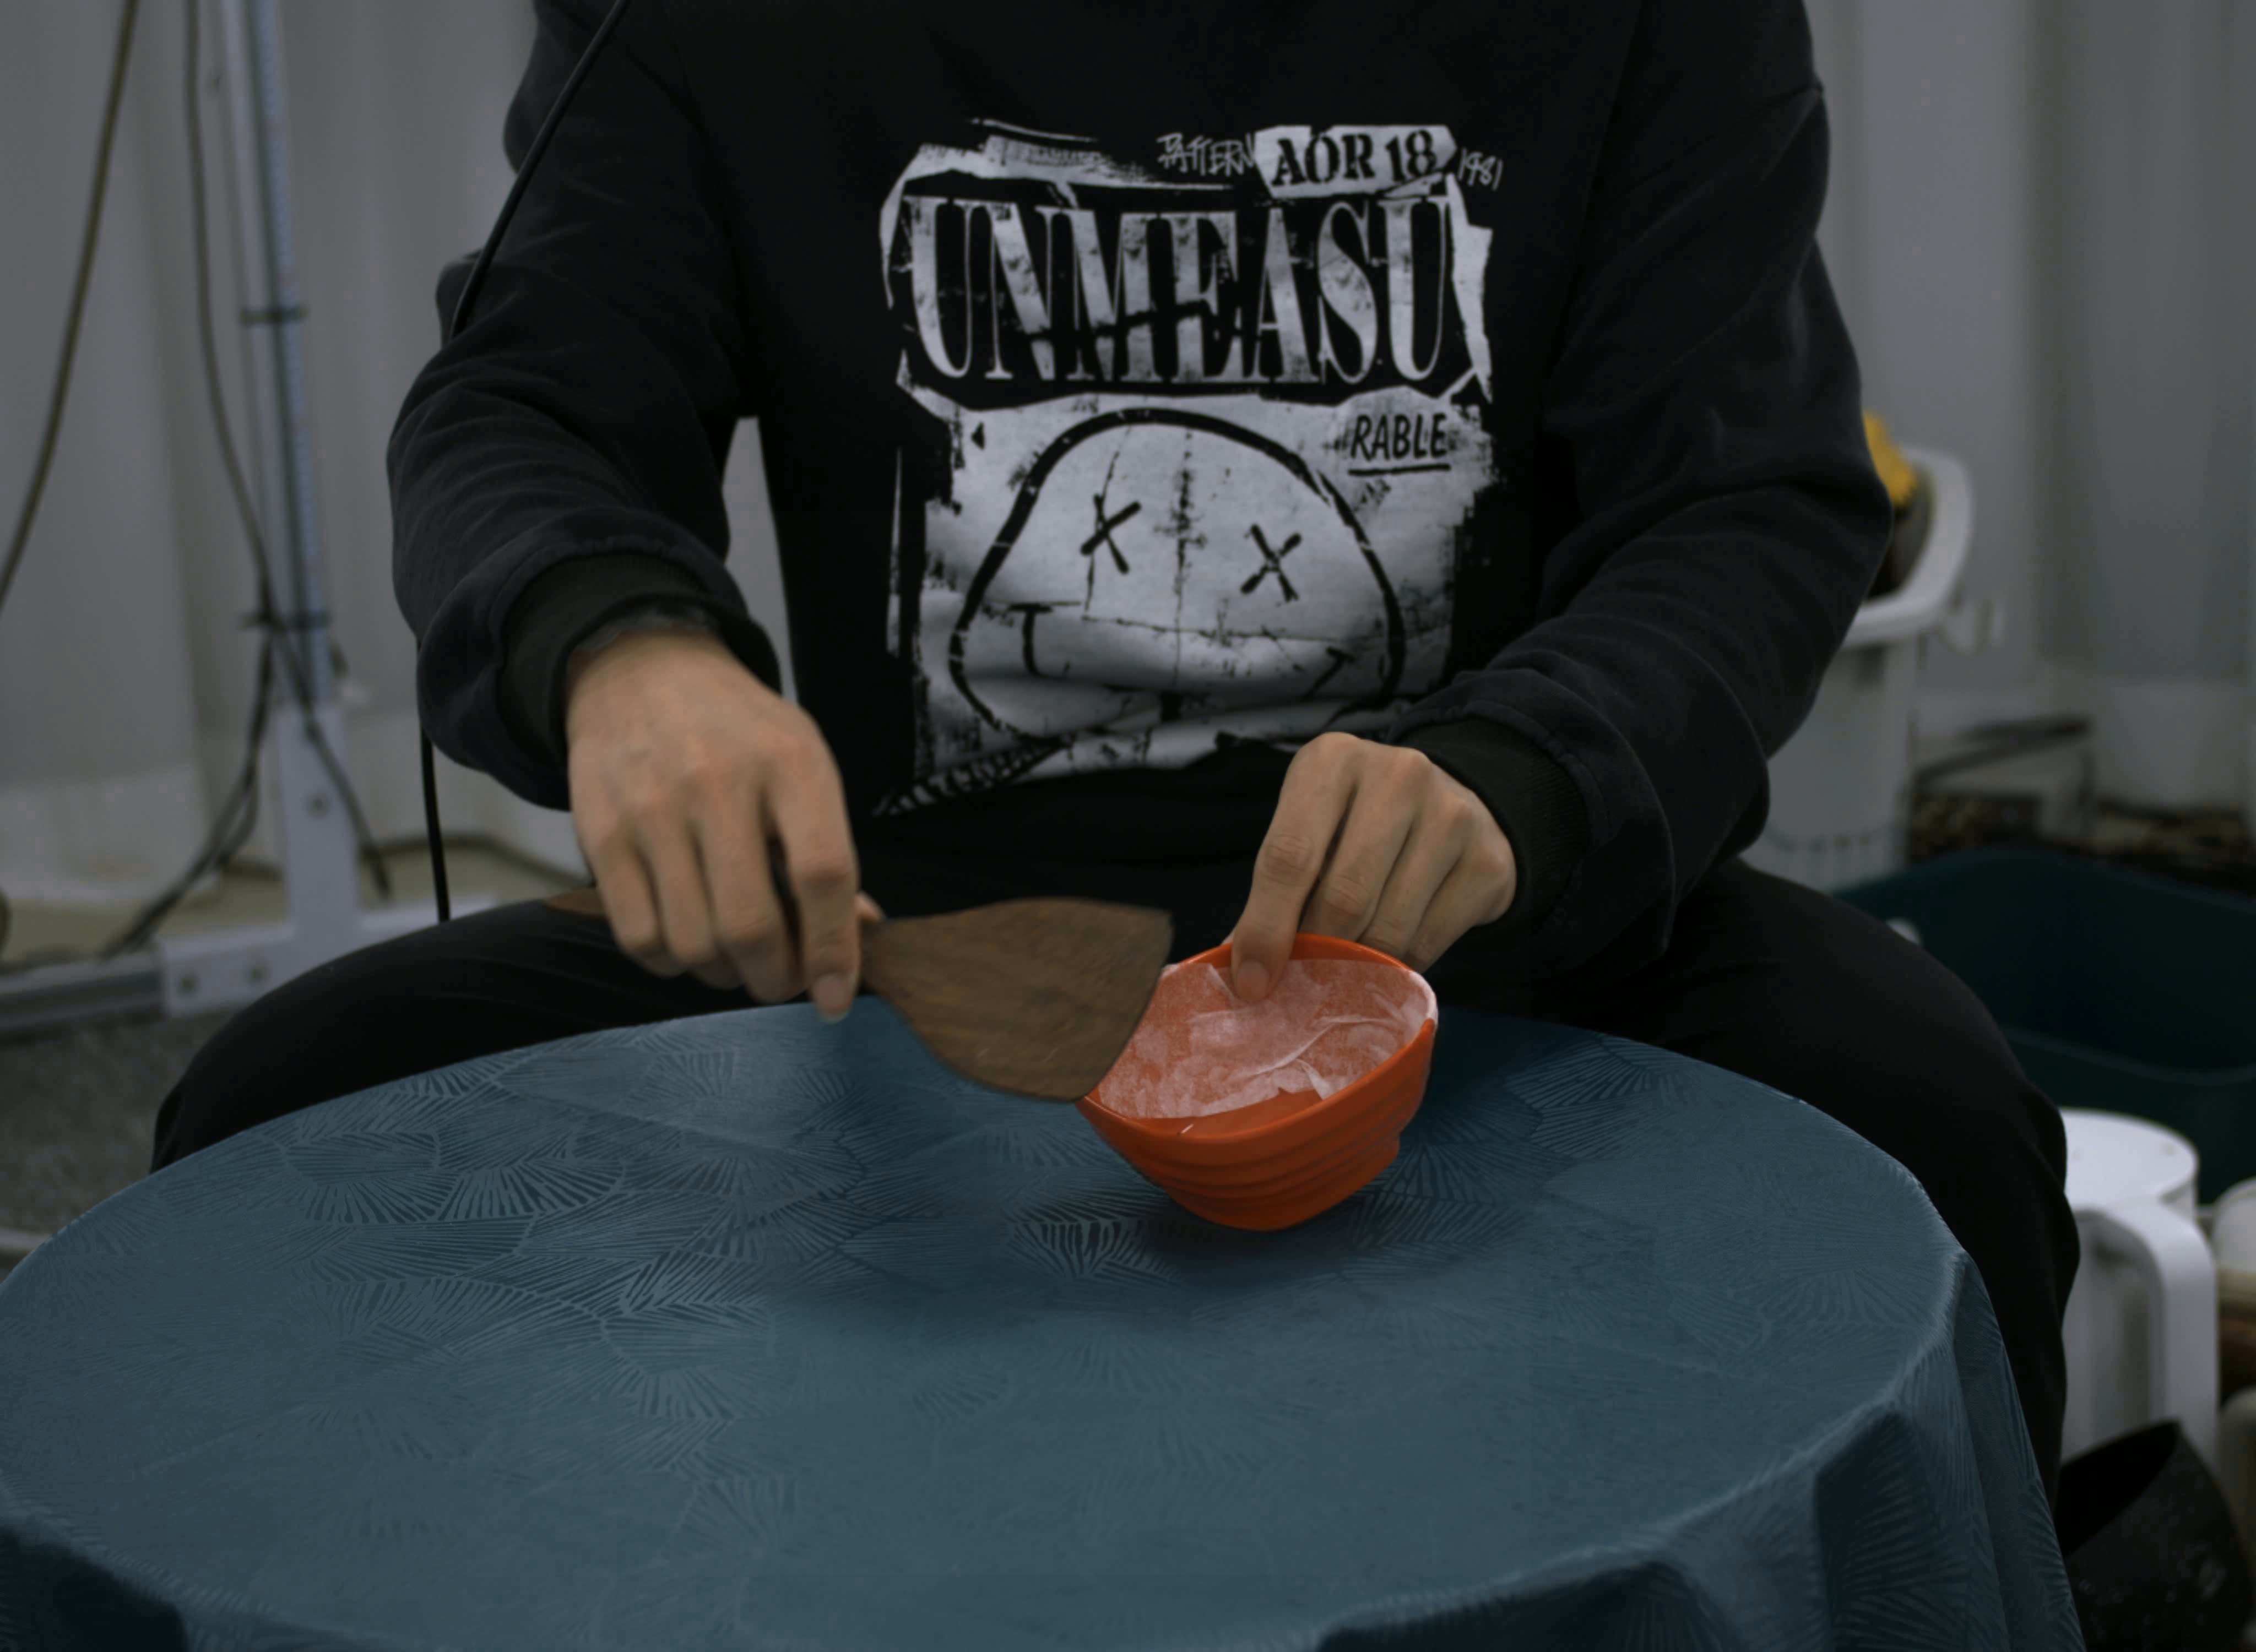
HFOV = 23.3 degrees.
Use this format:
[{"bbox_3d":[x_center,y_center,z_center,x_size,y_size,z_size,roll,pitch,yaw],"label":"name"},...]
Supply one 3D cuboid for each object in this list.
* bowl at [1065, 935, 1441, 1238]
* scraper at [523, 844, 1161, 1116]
[{"bbox_3d":[0.043,0.085,1.690,0.118,0.051,0.120,-12,28,6],"label":"bowl"},{"bbox_3d":[-0.092,0.038,1.670,0.212,0.010,0.076,14,53,24],"label":"scraper"}]
